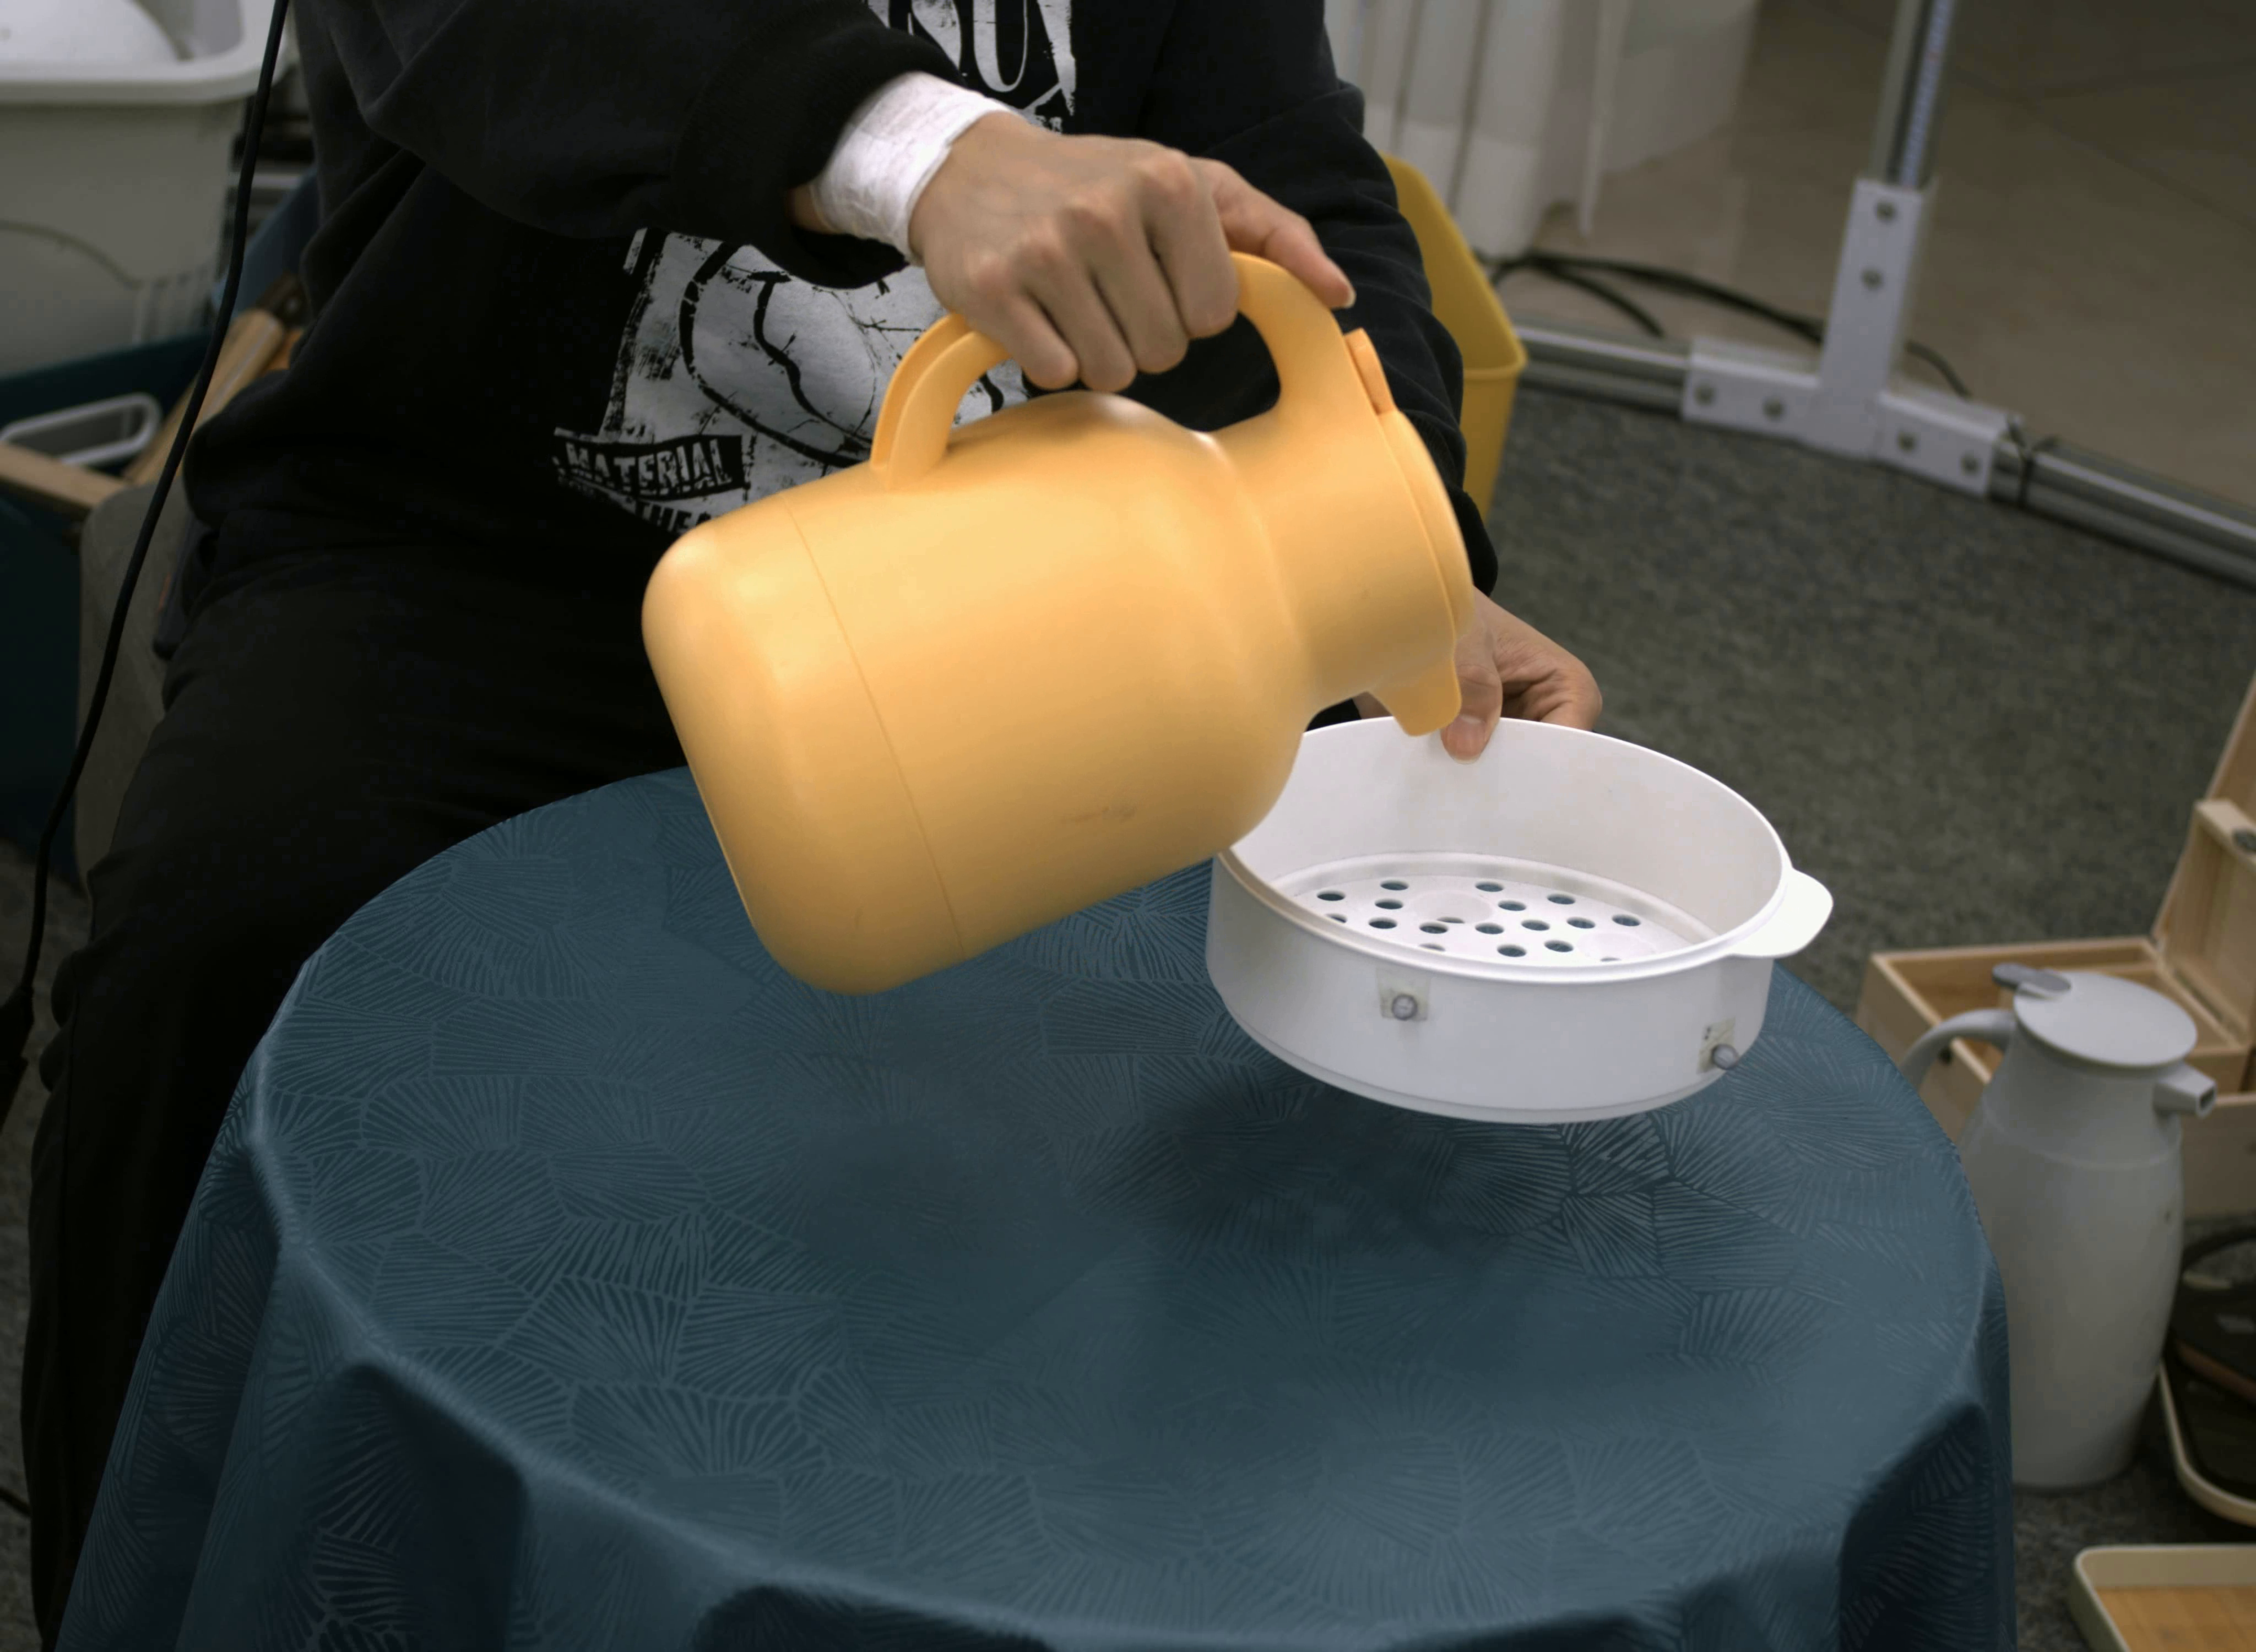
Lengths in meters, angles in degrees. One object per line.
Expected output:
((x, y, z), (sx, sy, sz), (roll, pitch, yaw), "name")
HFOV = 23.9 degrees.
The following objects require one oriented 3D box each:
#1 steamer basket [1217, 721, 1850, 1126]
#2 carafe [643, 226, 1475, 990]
((0.129, 0.033, 1.823), (0.231, 0.069, 0.202), (16, 26, 18), "steamer basket")
((-0.024, -0.076, 1.720), (0.259, 0.201, 0.164), (-21, 22, -7), "carafe")
